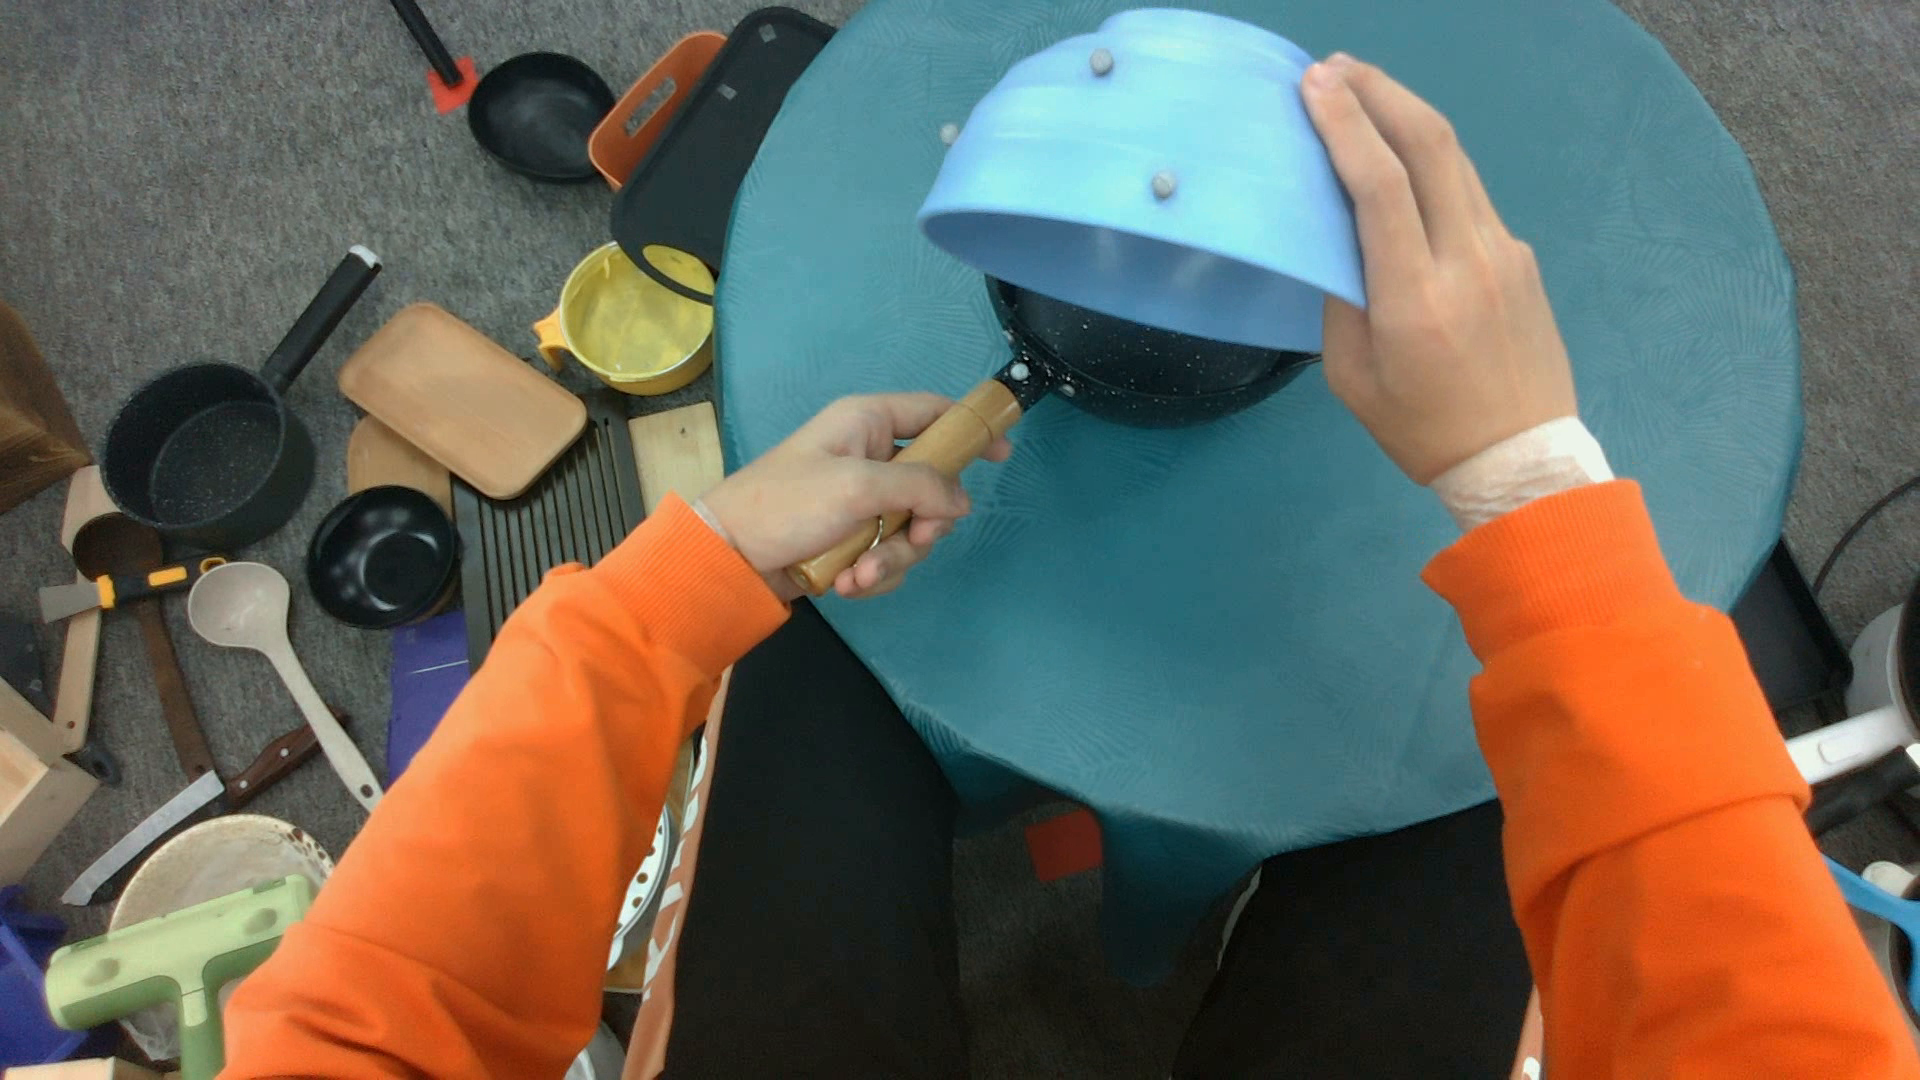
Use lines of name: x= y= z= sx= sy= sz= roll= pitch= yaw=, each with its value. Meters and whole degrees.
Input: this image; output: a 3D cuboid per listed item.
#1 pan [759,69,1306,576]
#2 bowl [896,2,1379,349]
pan: x=0.037 y=-0.097 z=0.664 sx=0.207 sy=0.108 sz=0.343 roll=40 pitch=76 yaw=10
bowl: x=0.081 y=-0.151 z=0.558 sx=0.196 sy=0.196 sz=0.095 roll=16 pitch=89 yaw=6
